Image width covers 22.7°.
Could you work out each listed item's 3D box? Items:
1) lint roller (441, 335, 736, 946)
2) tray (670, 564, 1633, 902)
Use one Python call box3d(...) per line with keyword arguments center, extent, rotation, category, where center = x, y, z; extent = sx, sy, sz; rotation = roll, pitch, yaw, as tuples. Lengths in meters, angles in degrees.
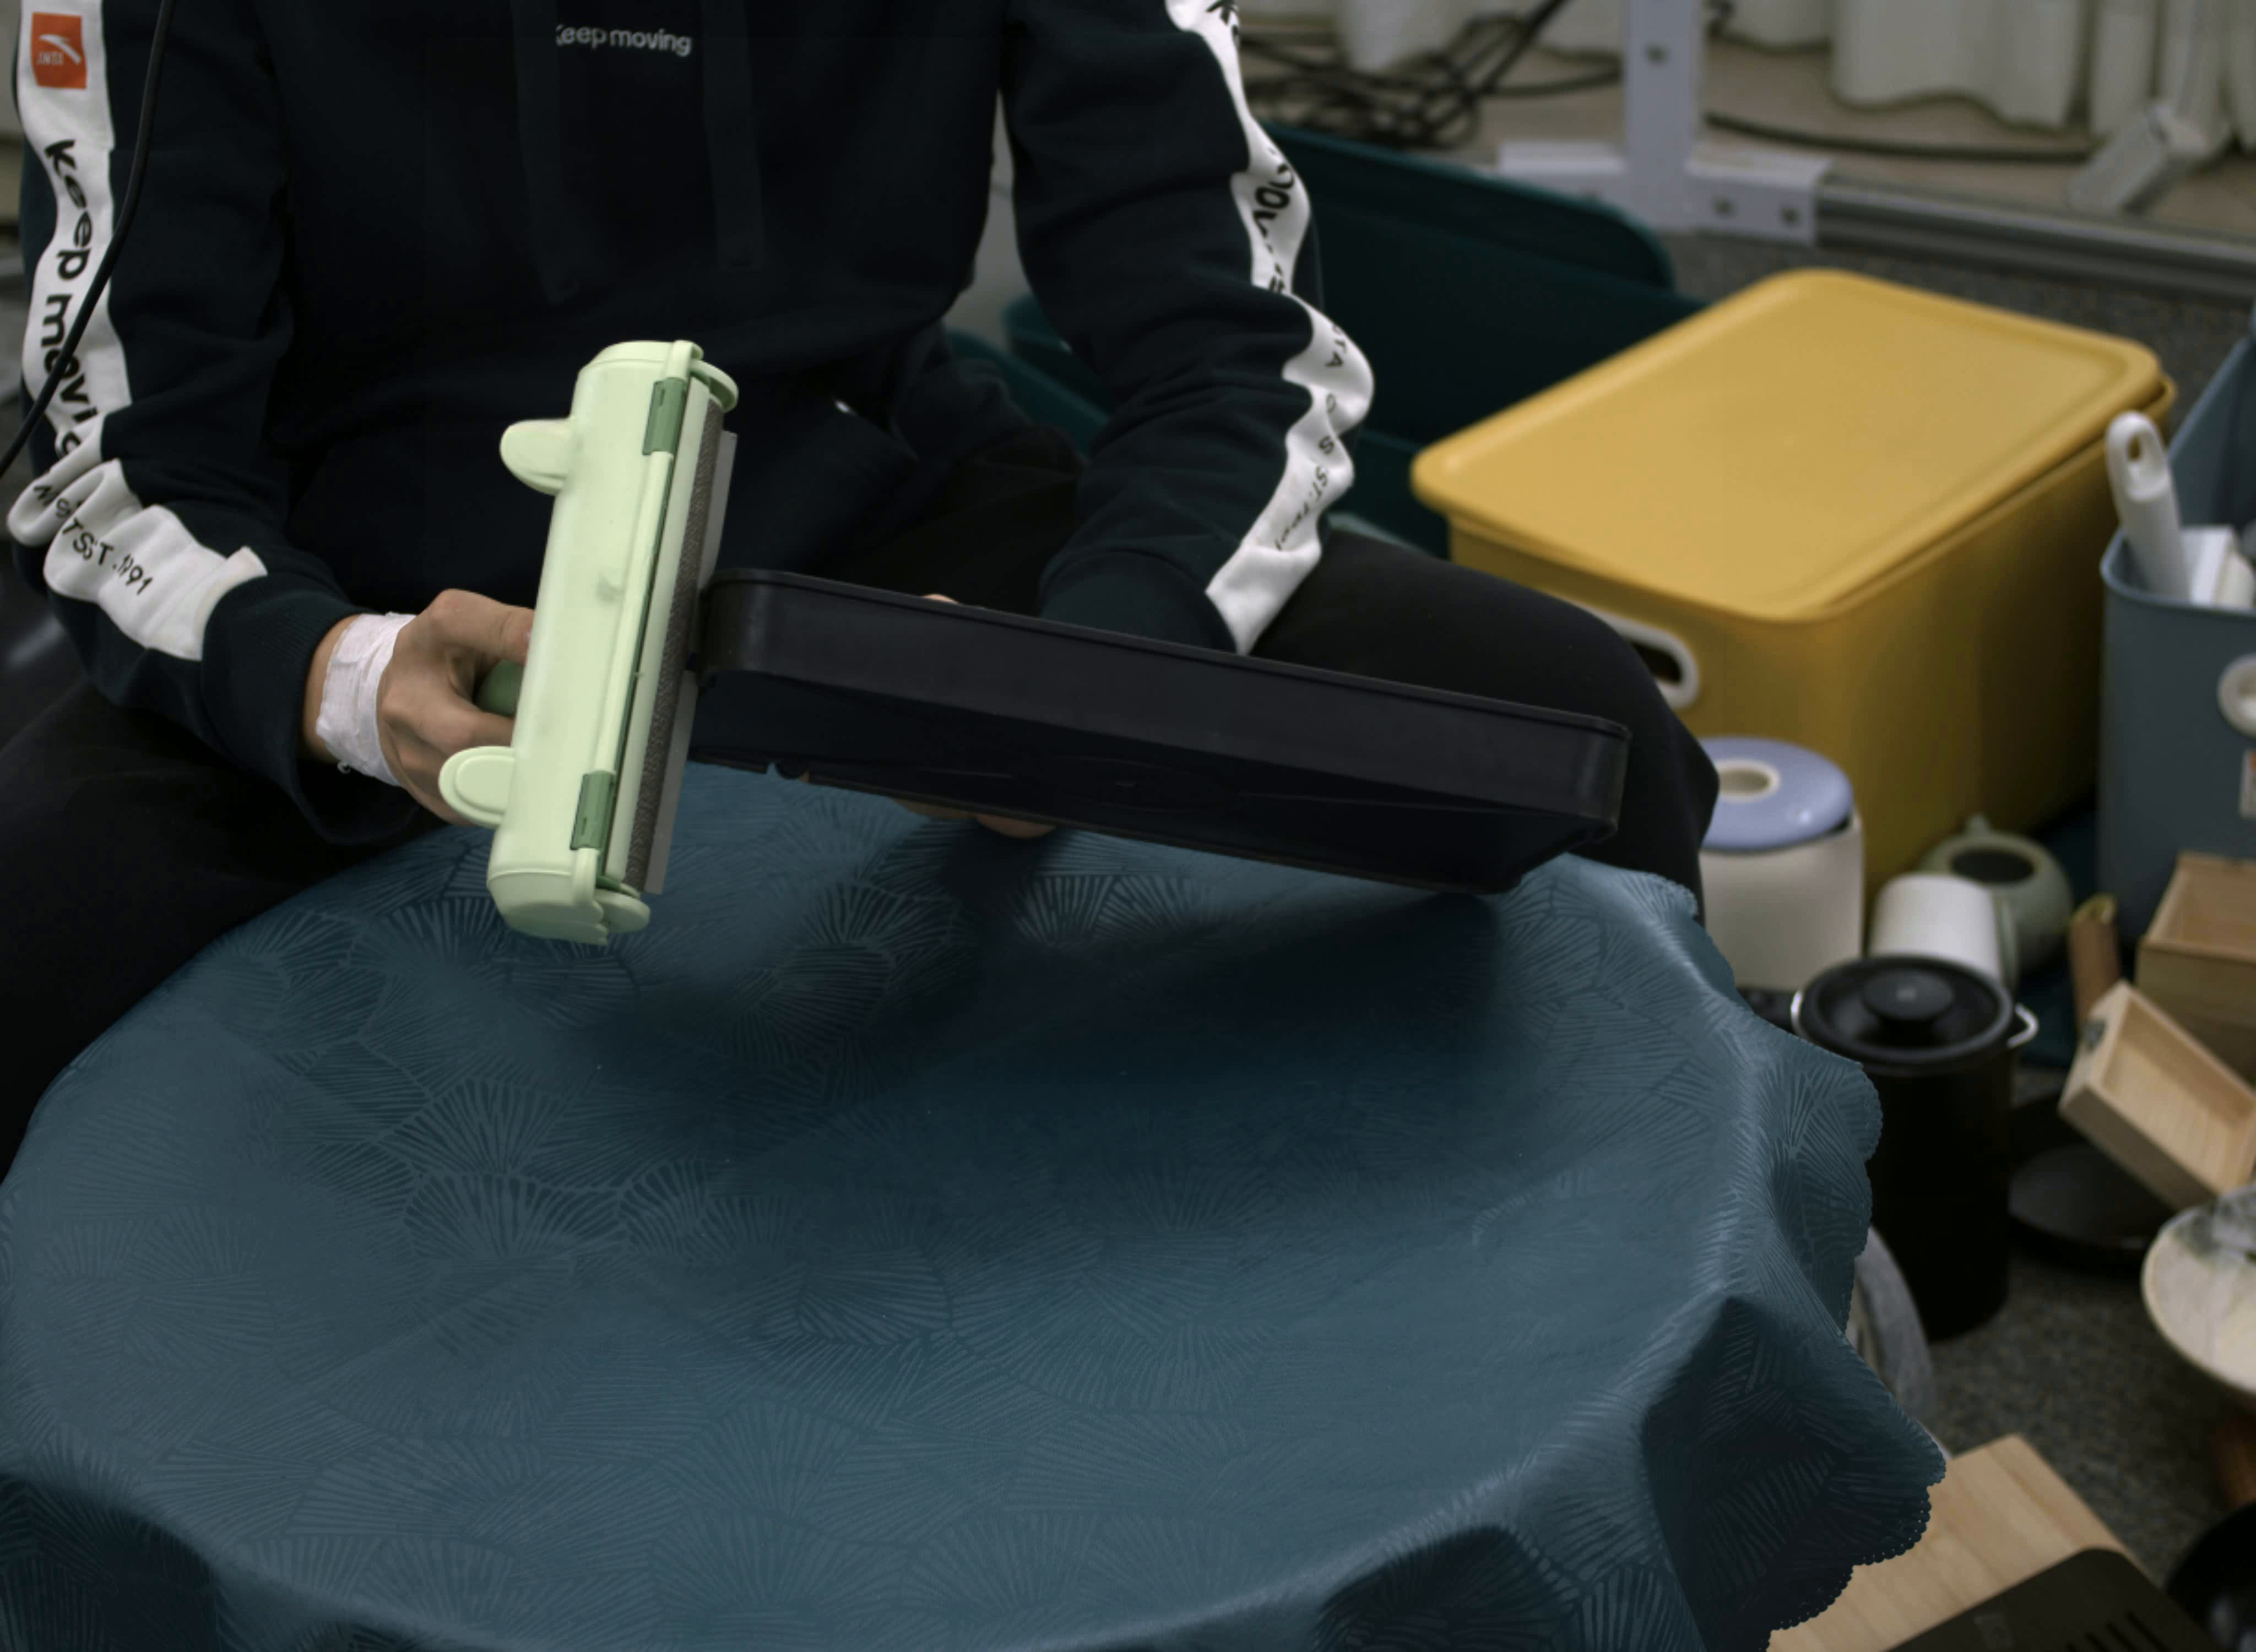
box3d(center=(-0.203, -0.054, 1.880), extent=(0.082, 0.201, 0.181), rotation=(18, -20, -30), category="lint roller")
box3d(center=(0.000, -0.029, 1.926), extent=(0.317, 0.037, 0.182), rotation=(10, -11, -10), category="tray")
